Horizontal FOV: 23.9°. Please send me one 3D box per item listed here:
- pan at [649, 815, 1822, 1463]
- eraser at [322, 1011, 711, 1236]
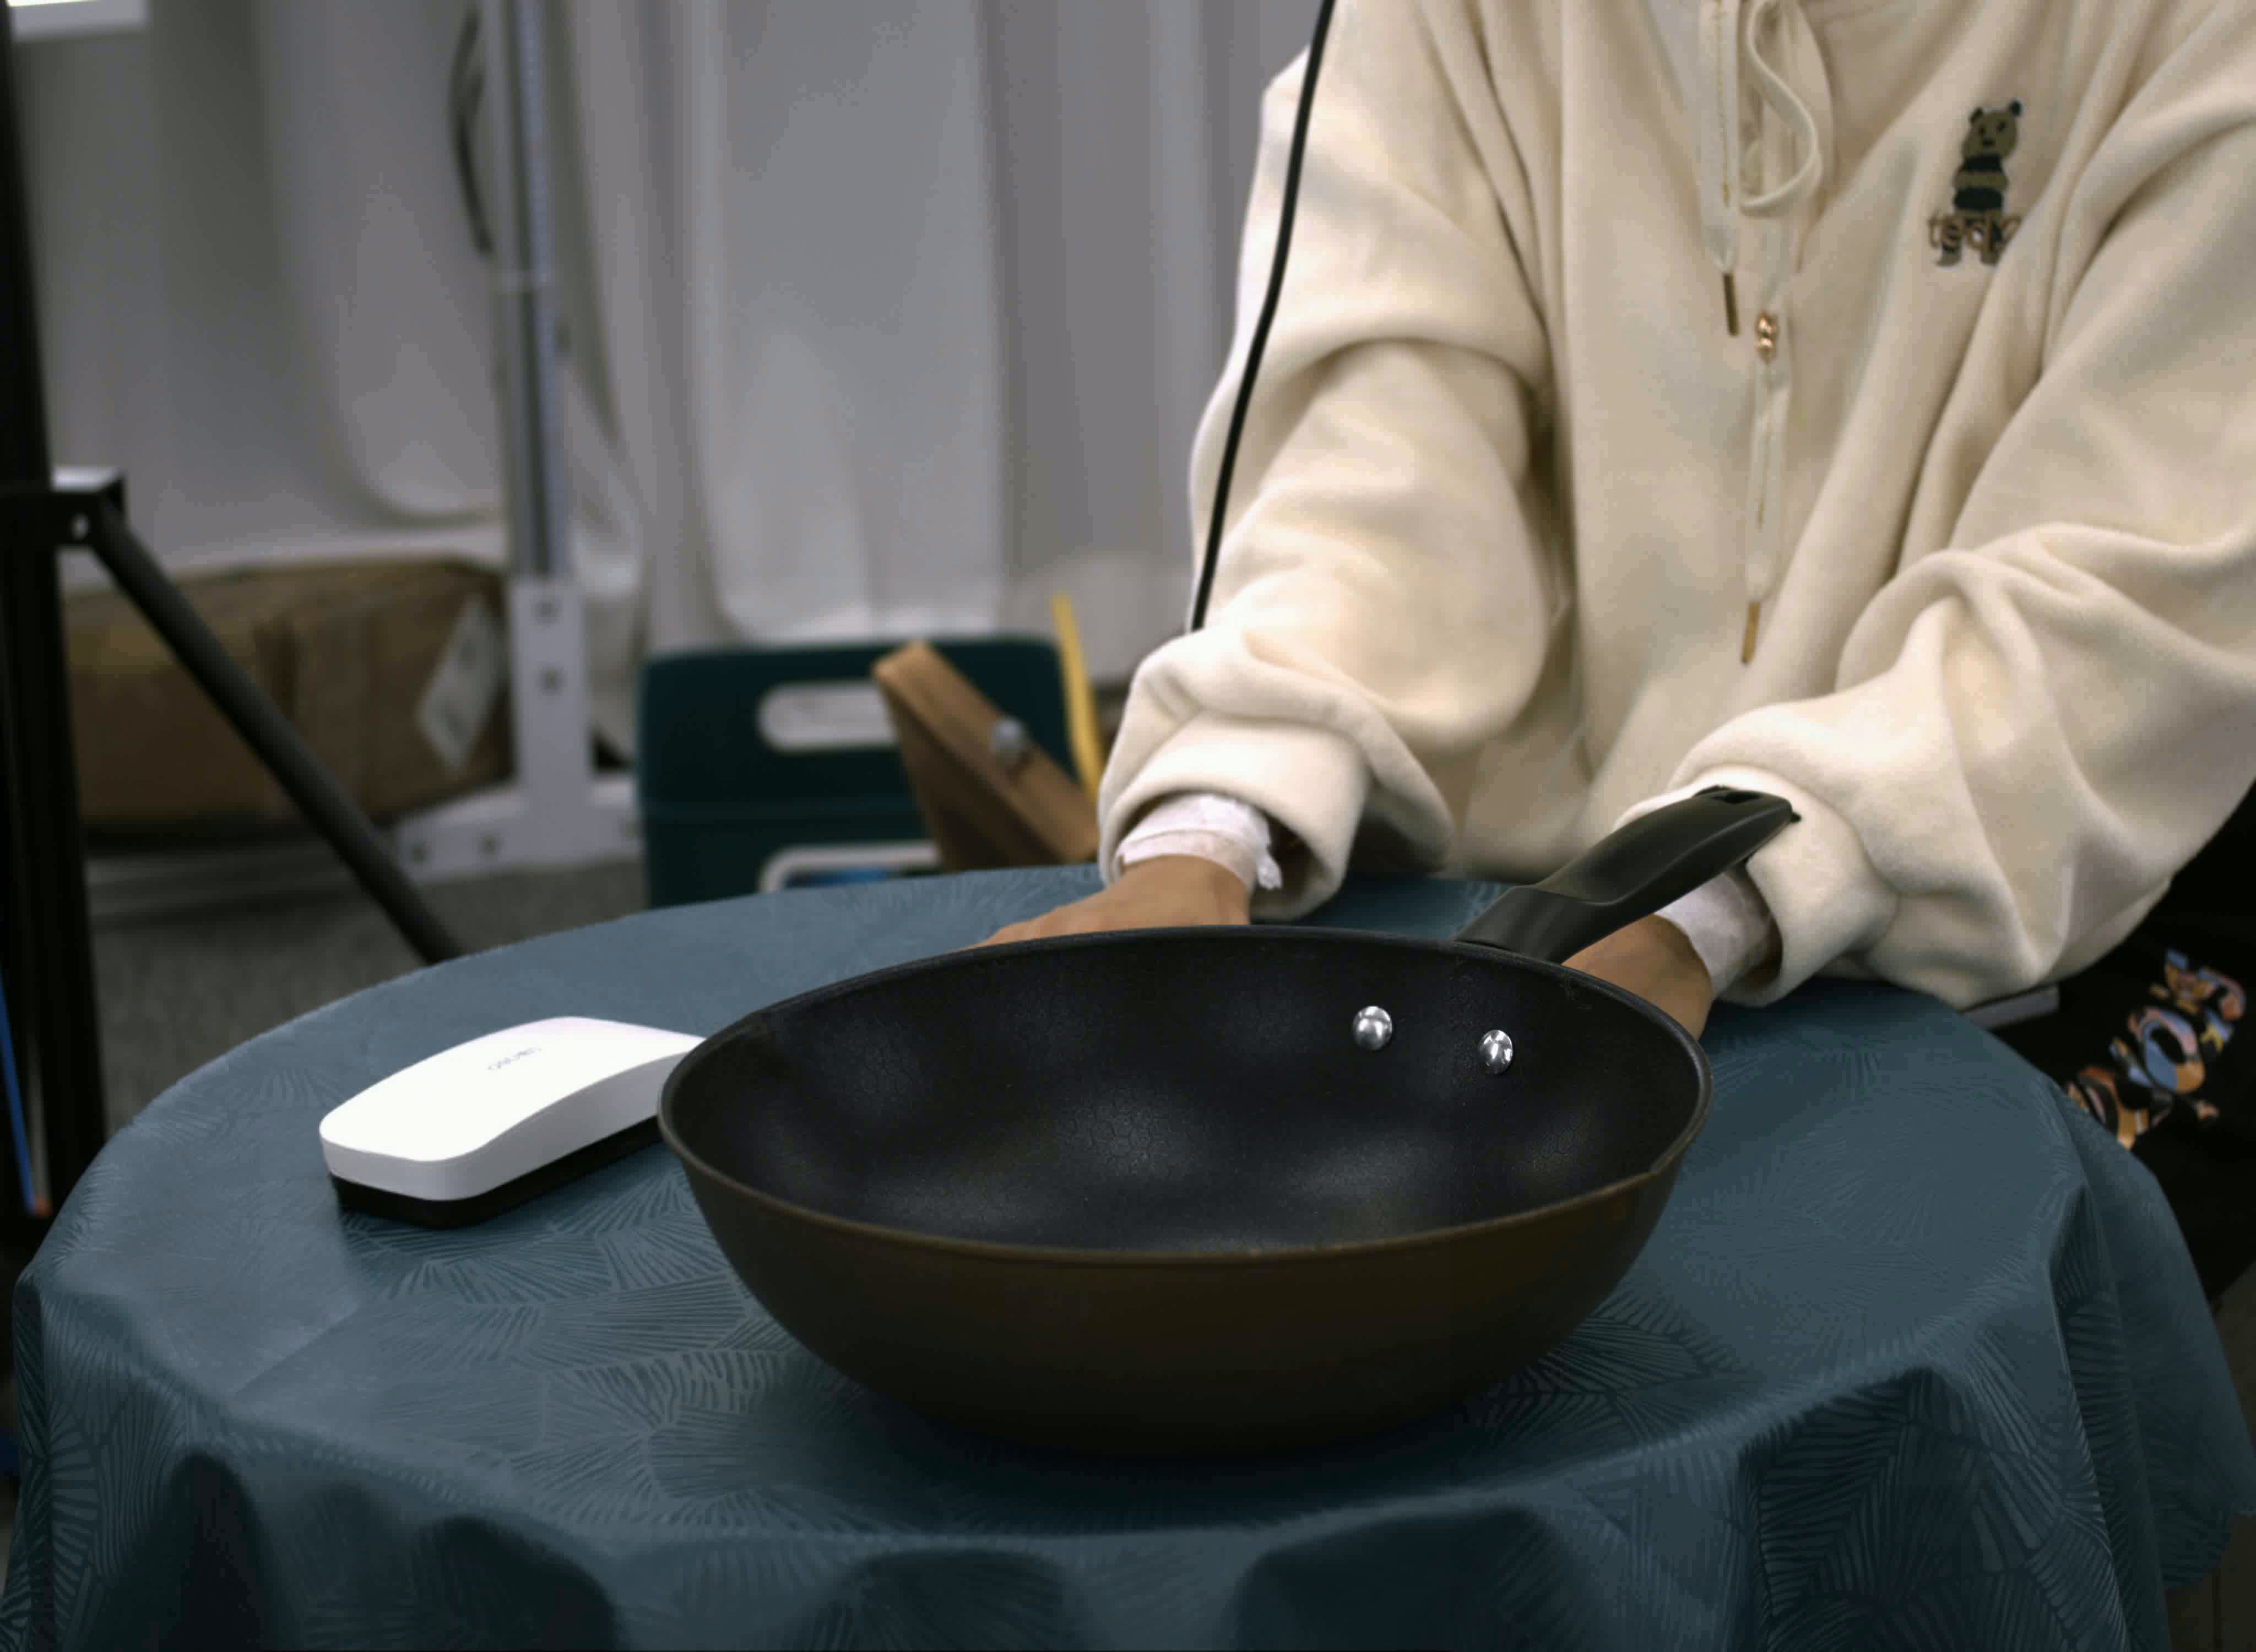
[{"bbox_3d":[0.067,0.083,1.485,0.294,0.087,0.453,9,19,35],"label":"pan"},{"bbox_3d":[-0.182,0.086,1.610,0.064,0.034,0.129,12,21,33],"label":"eraser"}]
